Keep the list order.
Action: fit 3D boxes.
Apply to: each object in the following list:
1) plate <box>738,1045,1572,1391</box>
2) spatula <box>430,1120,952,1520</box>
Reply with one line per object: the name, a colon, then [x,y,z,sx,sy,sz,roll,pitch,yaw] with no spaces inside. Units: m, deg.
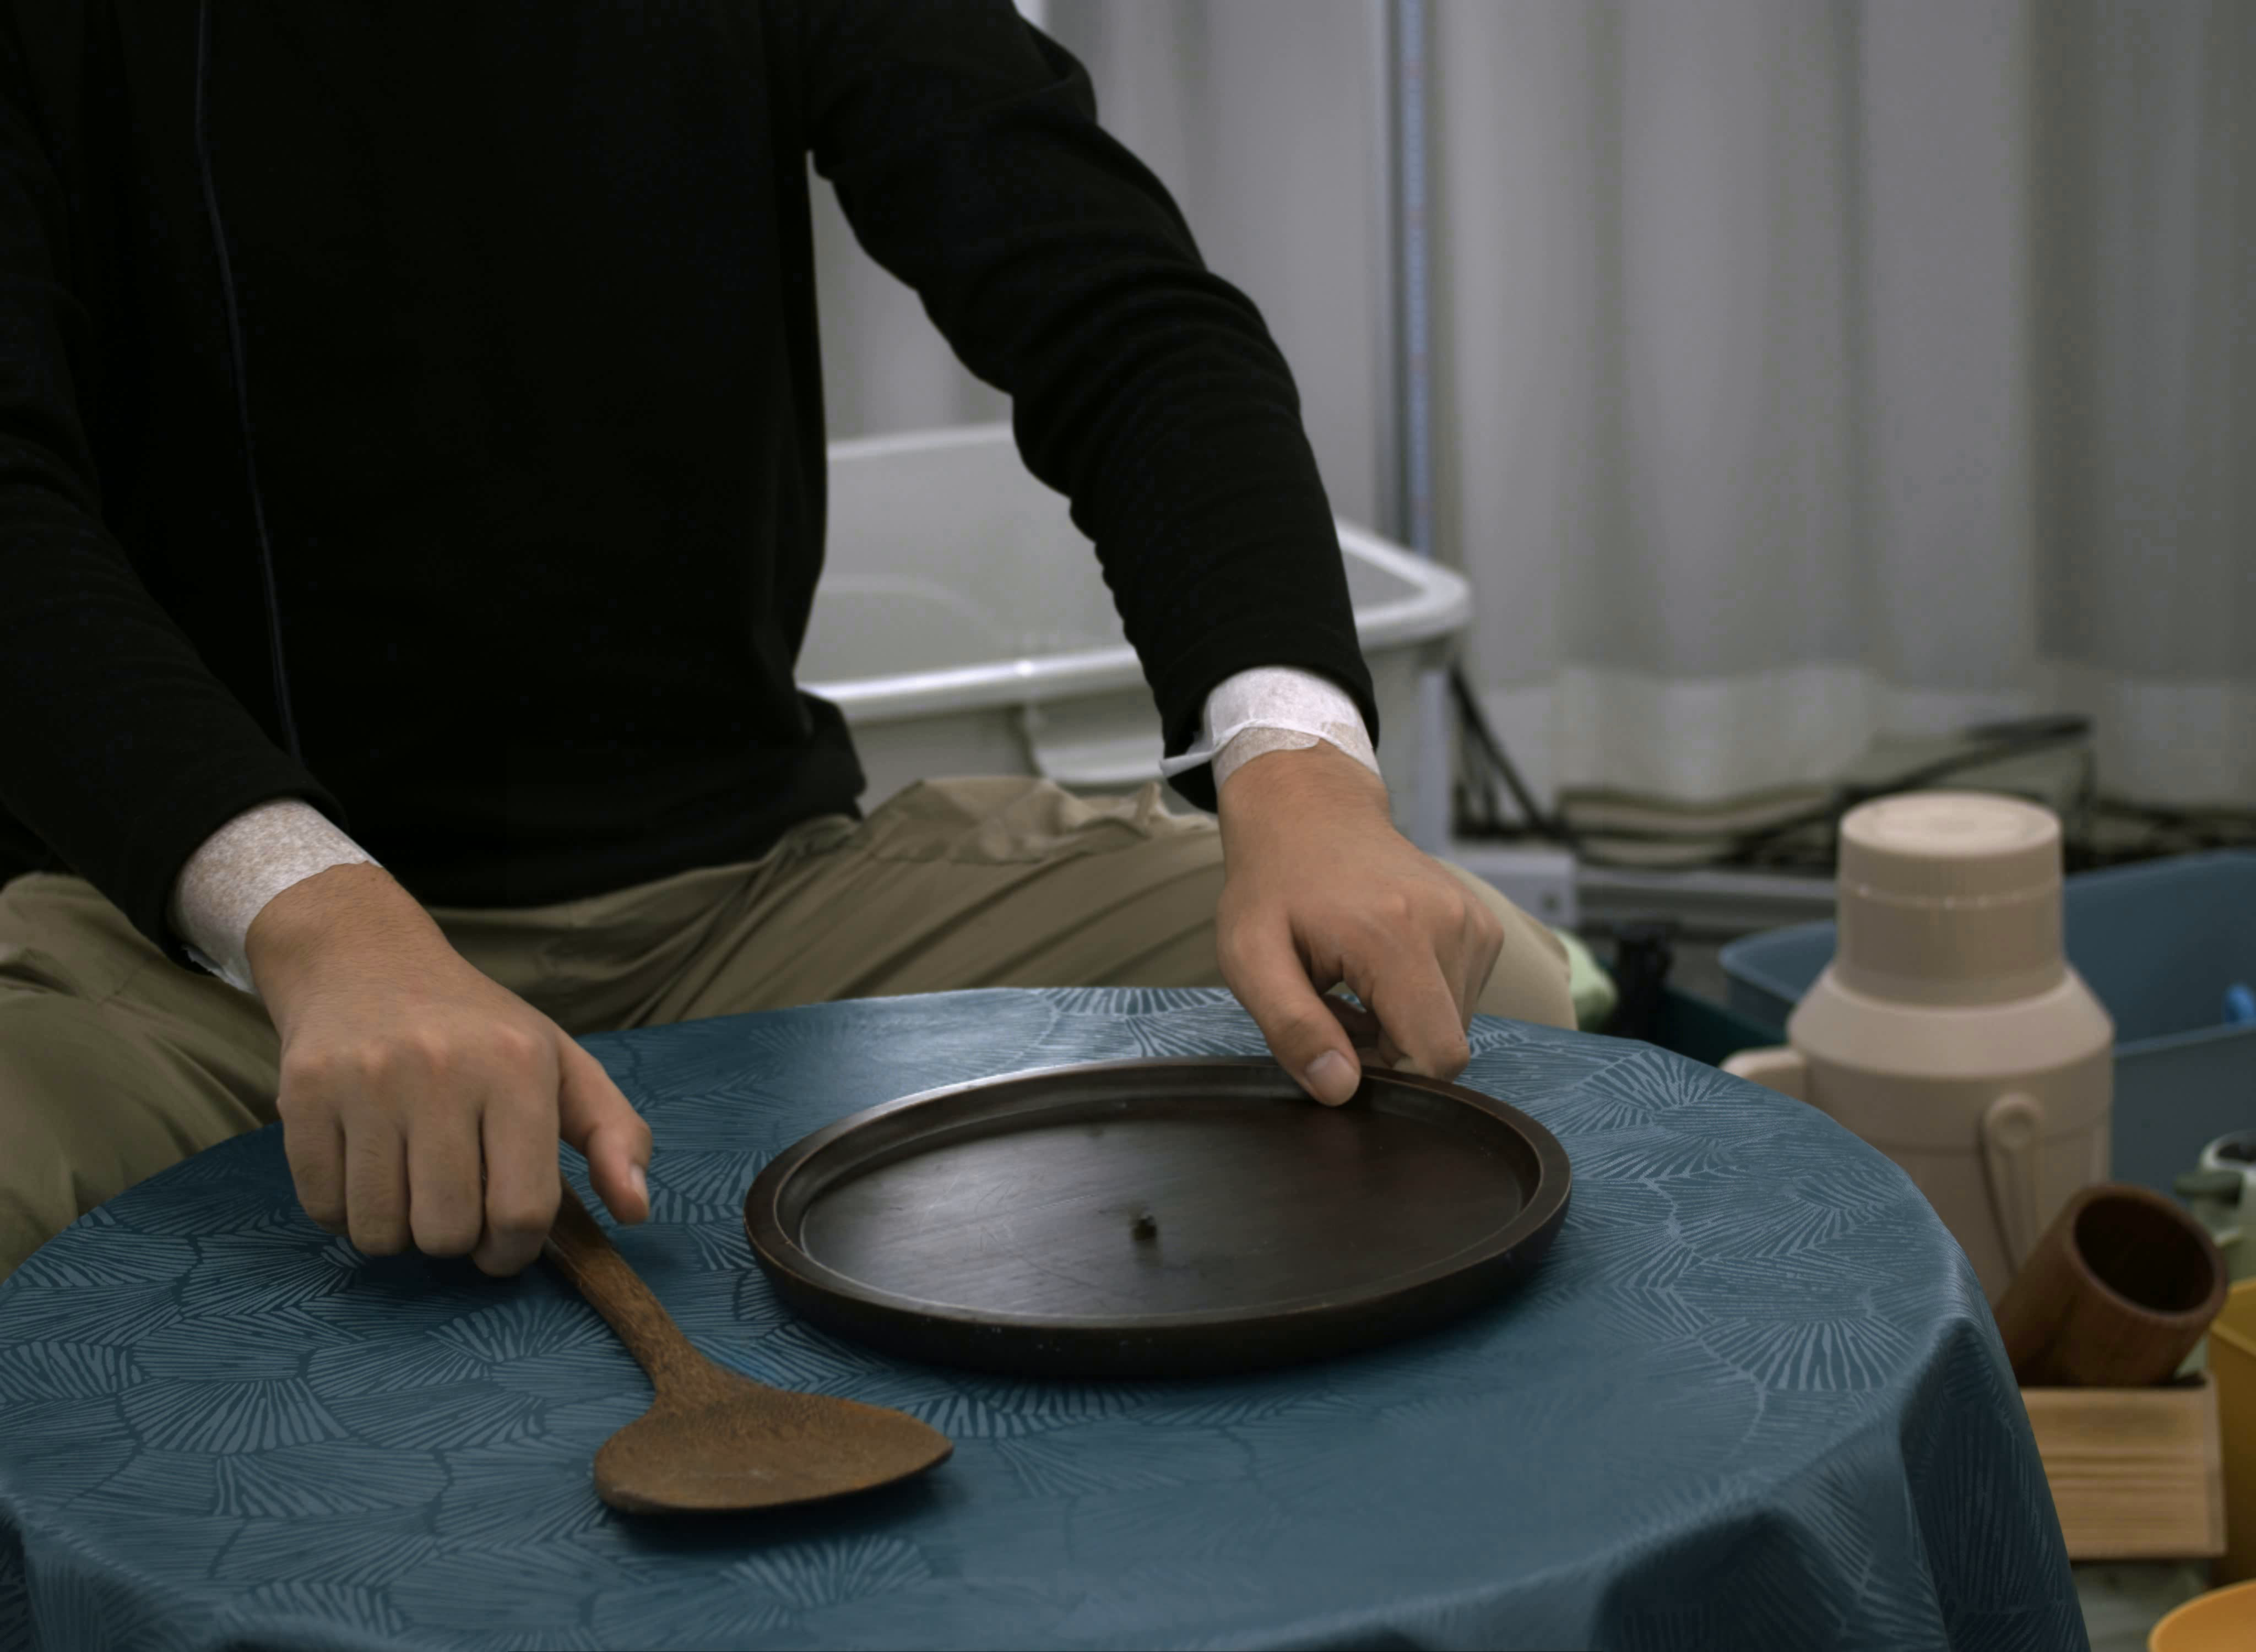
plate: [0.008,0.118,1.657,0.254,0.029,0.256,-2,16,0]
spatula: [-0.151,0.140,1.621,0.095,0.016,0.389,-8,15,-19]
